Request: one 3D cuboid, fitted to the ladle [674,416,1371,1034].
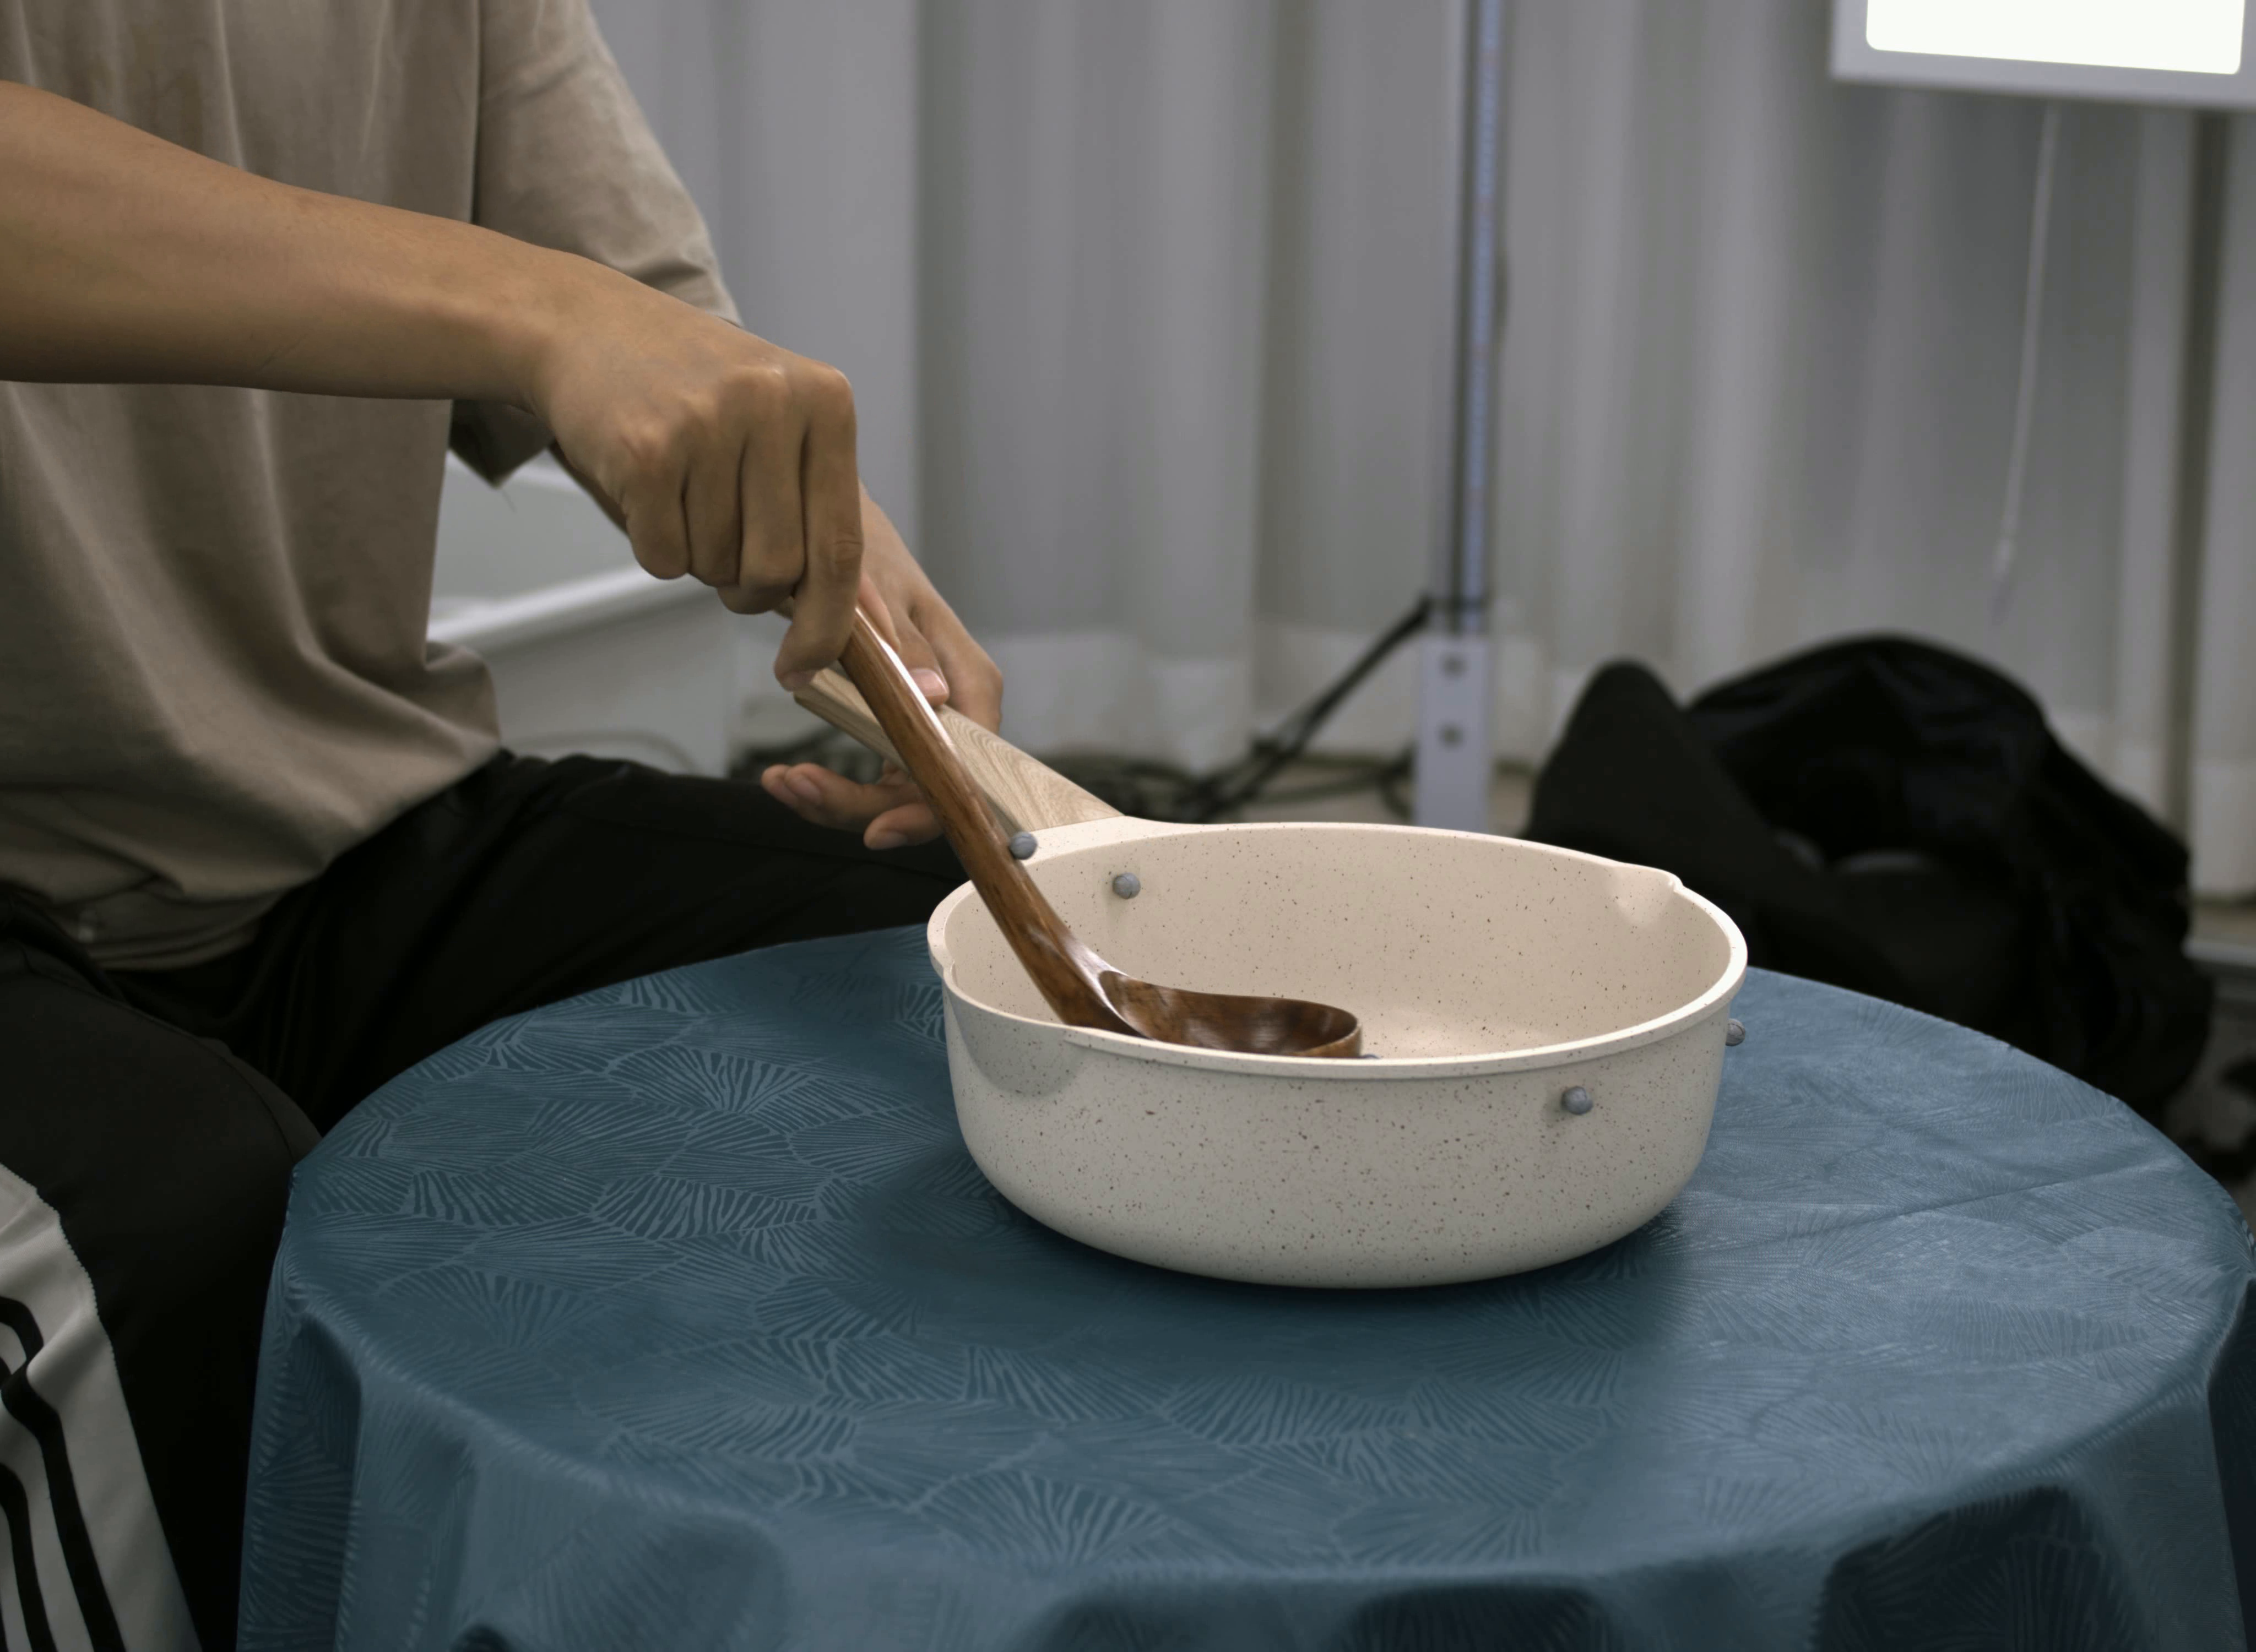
[{"bbox_3d":[-0.028,-0.023,1.554,0.076,0.275,0.082,-33,6,7],"label":"ladle"}]

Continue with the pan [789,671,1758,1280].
[{"bbox_3d":[0.016,0.042,1.695,0.264,0.103,0.429,-12,20,-33],"label":"pan"}]
